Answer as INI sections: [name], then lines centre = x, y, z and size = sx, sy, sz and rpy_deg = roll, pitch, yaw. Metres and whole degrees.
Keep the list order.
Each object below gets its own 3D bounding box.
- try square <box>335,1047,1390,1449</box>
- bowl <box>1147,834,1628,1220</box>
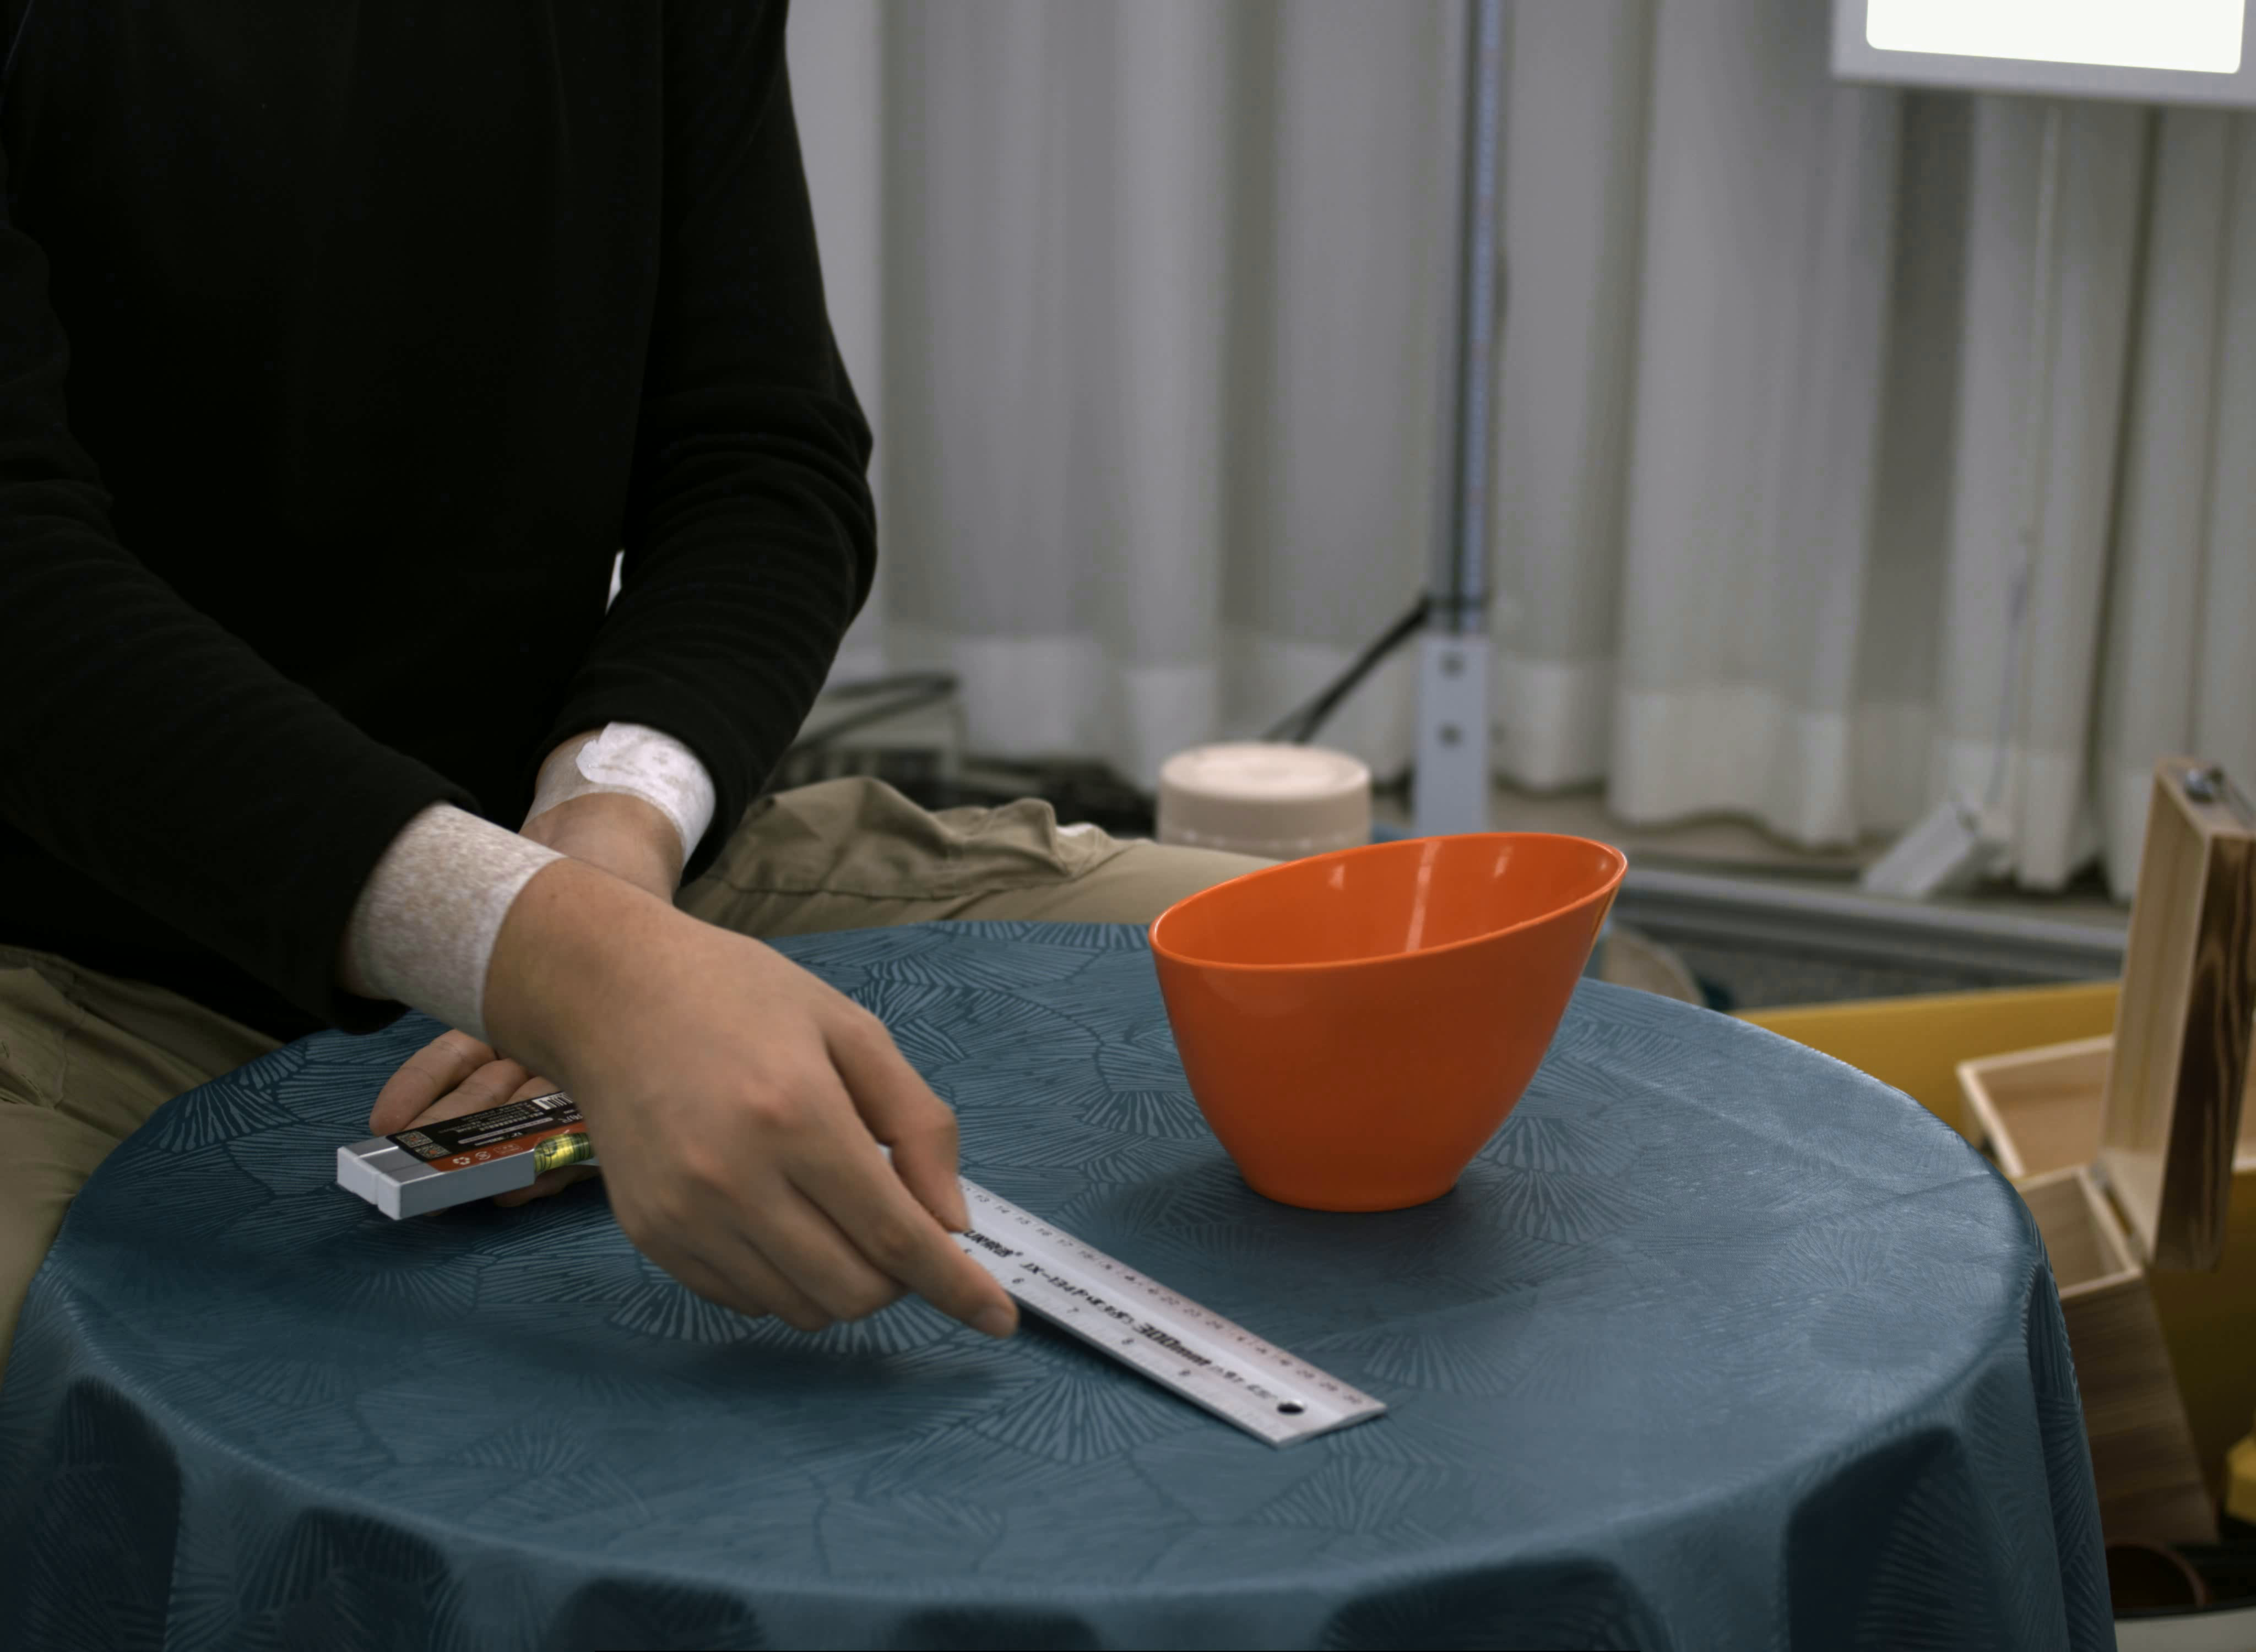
[try square]
centre = -0.083, 0.131, 1.511
size = 0.153, 0.016, 0.308
rpy_deg = -14, 26, -37
[bowl]
centre = 0.079, 0.062, 1.615
size = 0.147, 0.105, 0.147
rpy_deg = 0, 17, 1
